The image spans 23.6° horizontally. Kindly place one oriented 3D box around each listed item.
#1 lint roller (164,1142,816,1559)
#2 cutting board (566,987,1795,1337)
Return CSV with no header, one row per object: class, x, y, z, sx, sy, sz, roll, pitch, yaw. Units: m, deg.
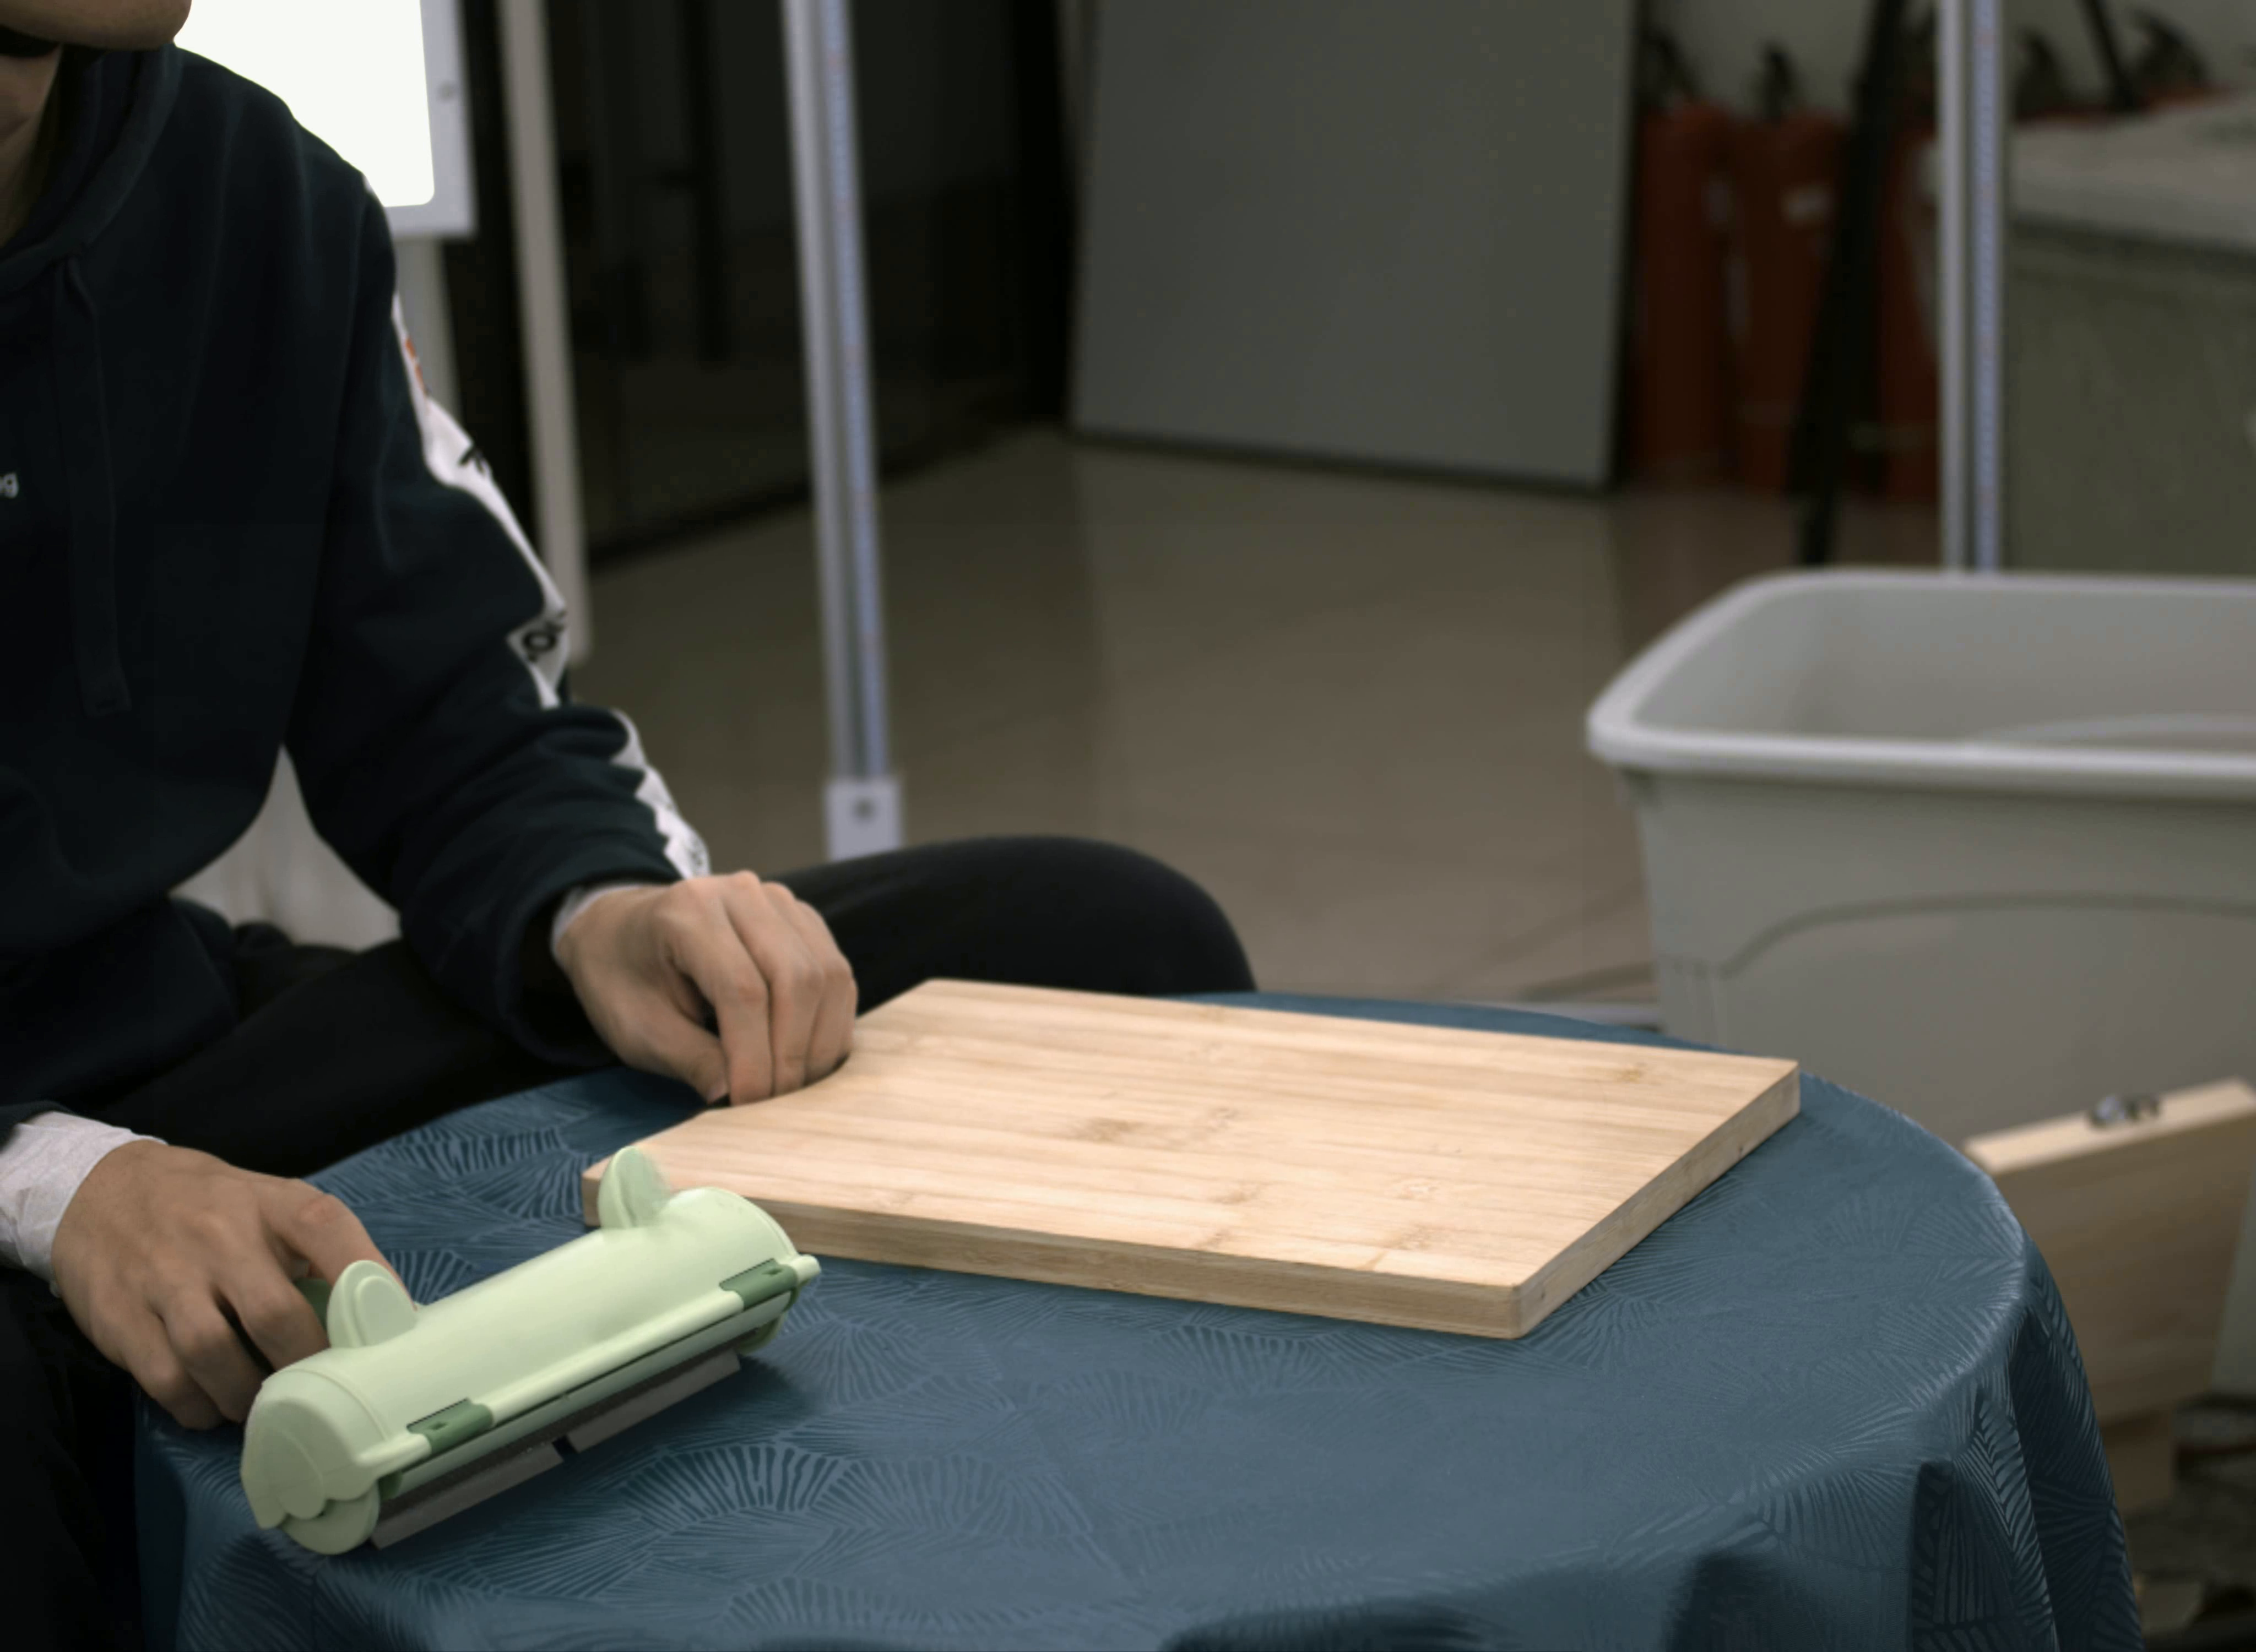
lint roller,-0.218,0.140,1.596,0.184,0.083,0.195,12,21,35
cutting board,0.020,0.107,1.791,0.350,0.024,0.247,4,16,28
